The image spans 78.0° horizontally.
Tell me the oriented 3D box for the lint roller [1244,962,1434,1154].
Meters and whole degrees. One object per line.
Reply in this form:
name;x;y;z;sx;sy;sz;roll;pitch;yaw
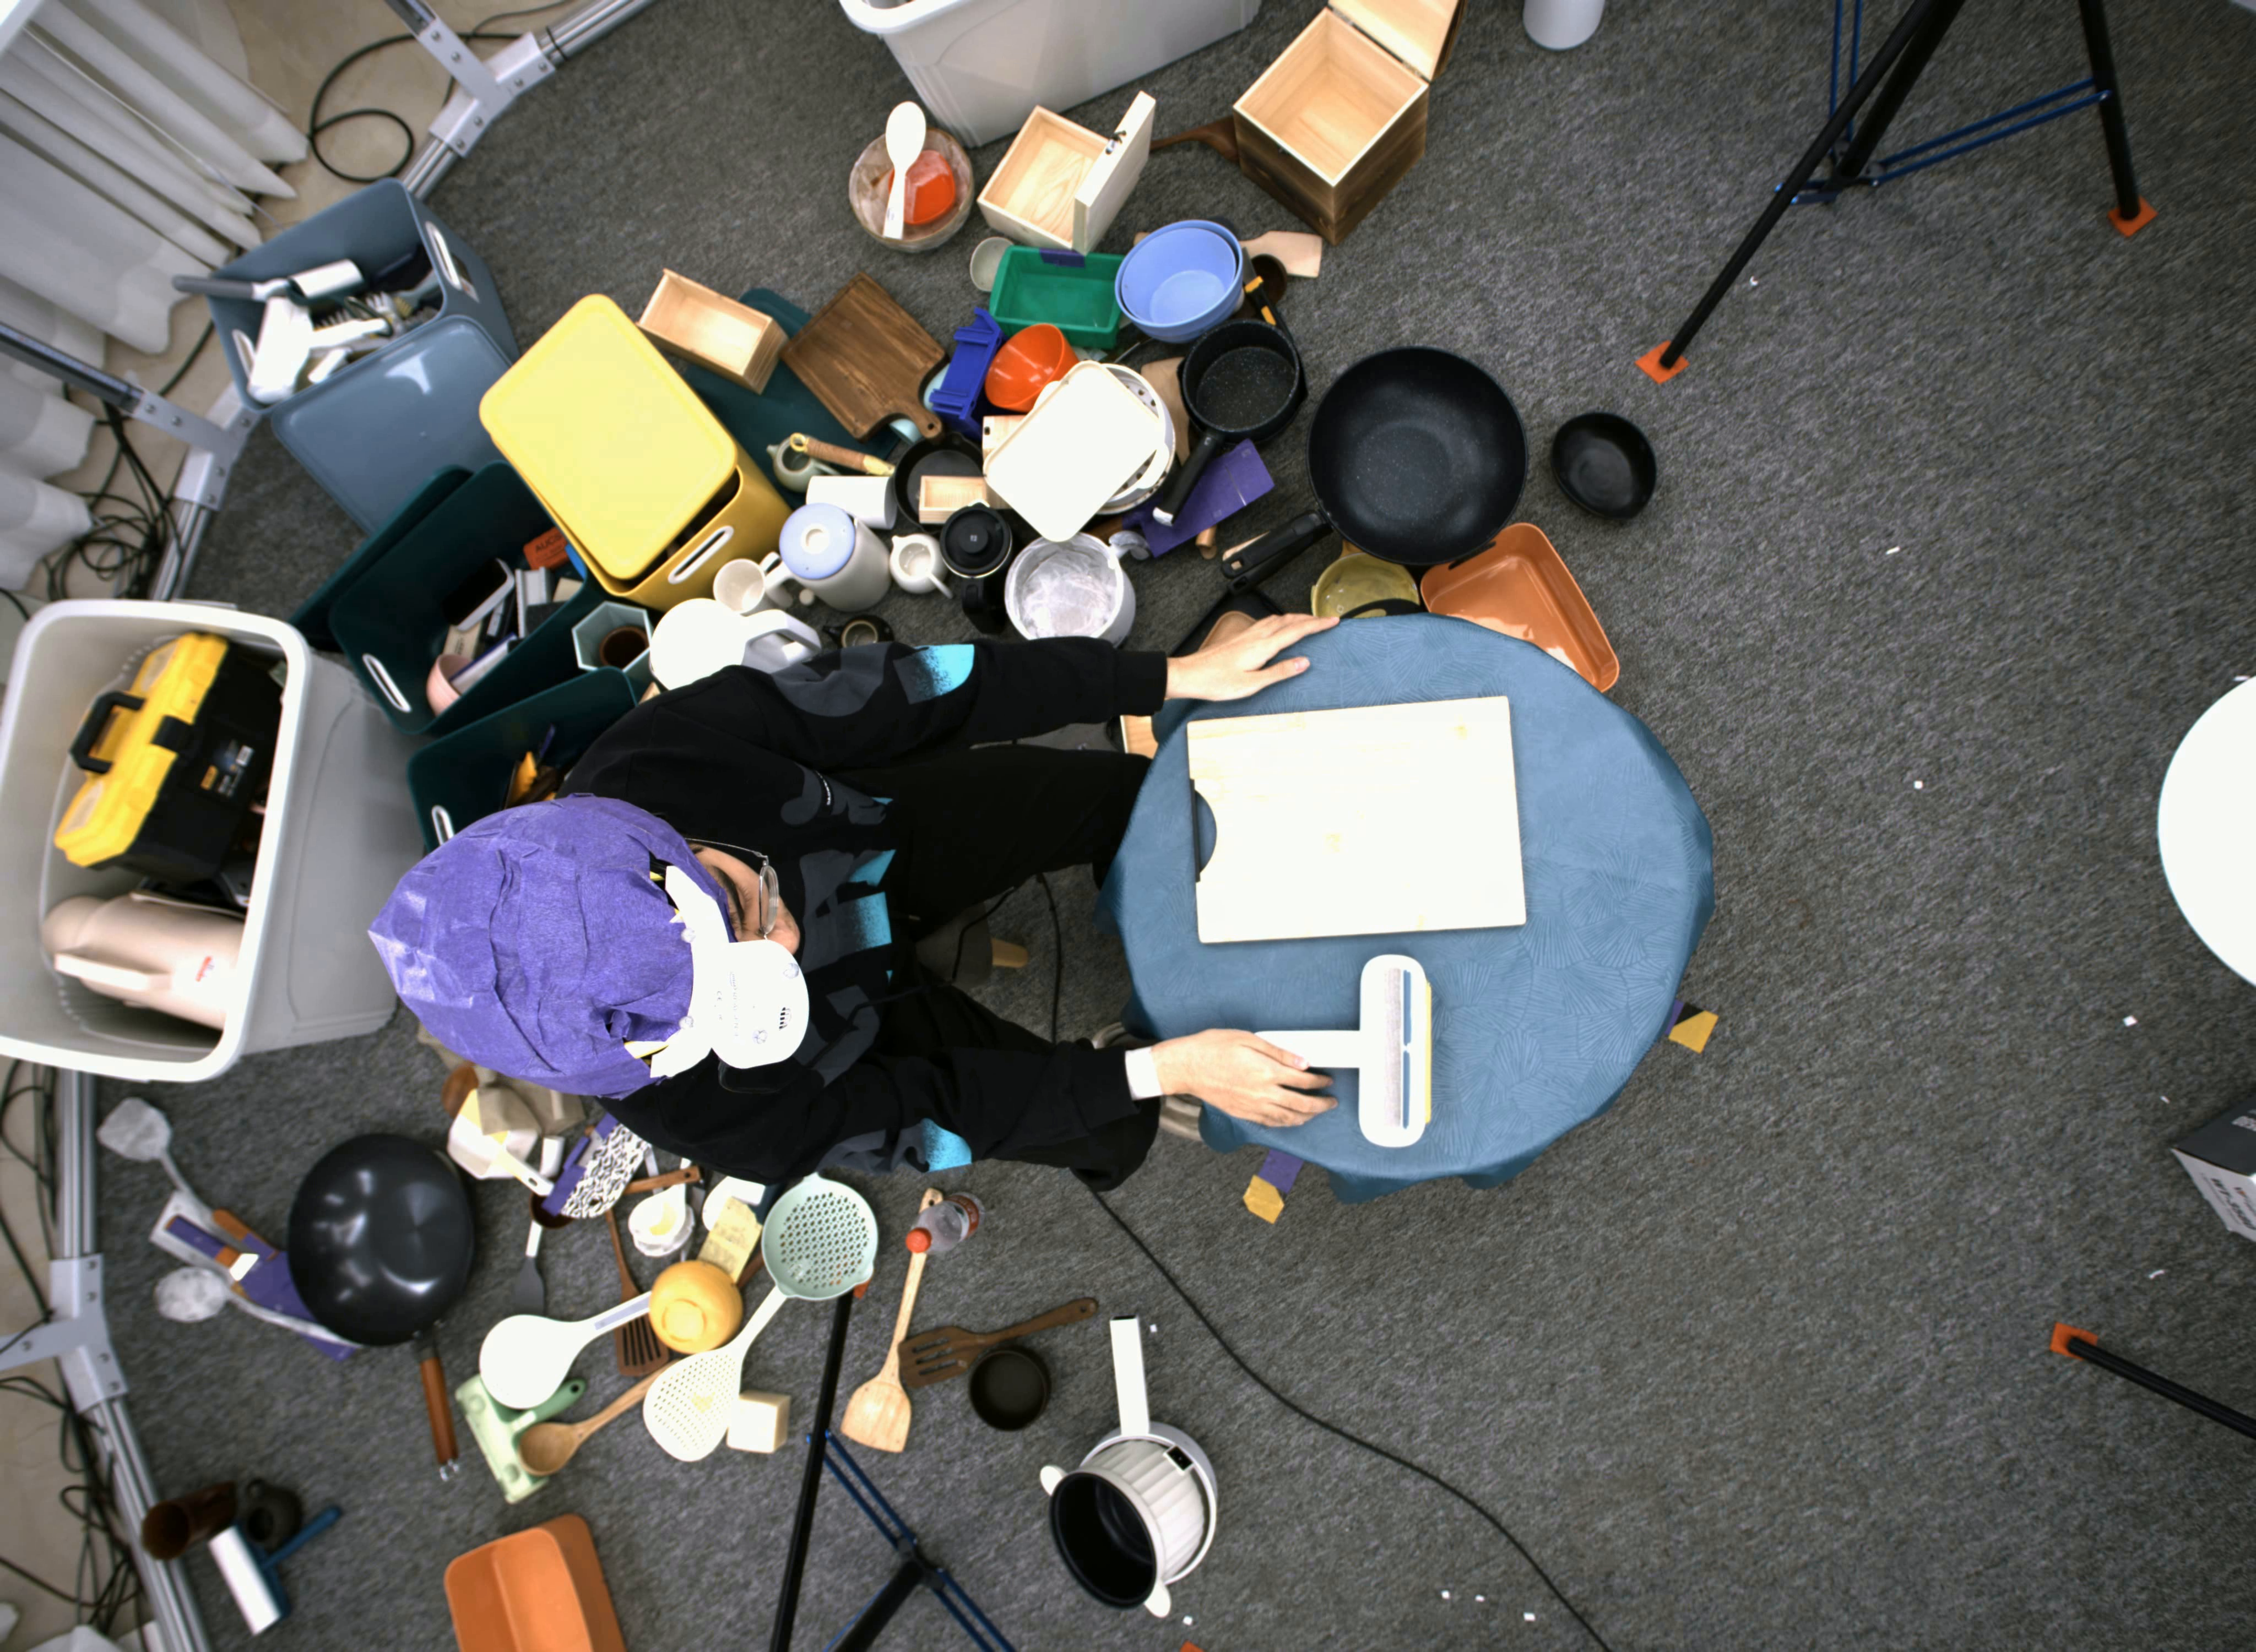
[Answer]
lint roller;0.213;0.231;1.424;0.193;0.074;0.191;4;82;12

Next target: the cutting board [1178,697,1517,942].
cutting board;0.231;-0.007;1.458;0.350;0.023;0.249;-5;86;10
